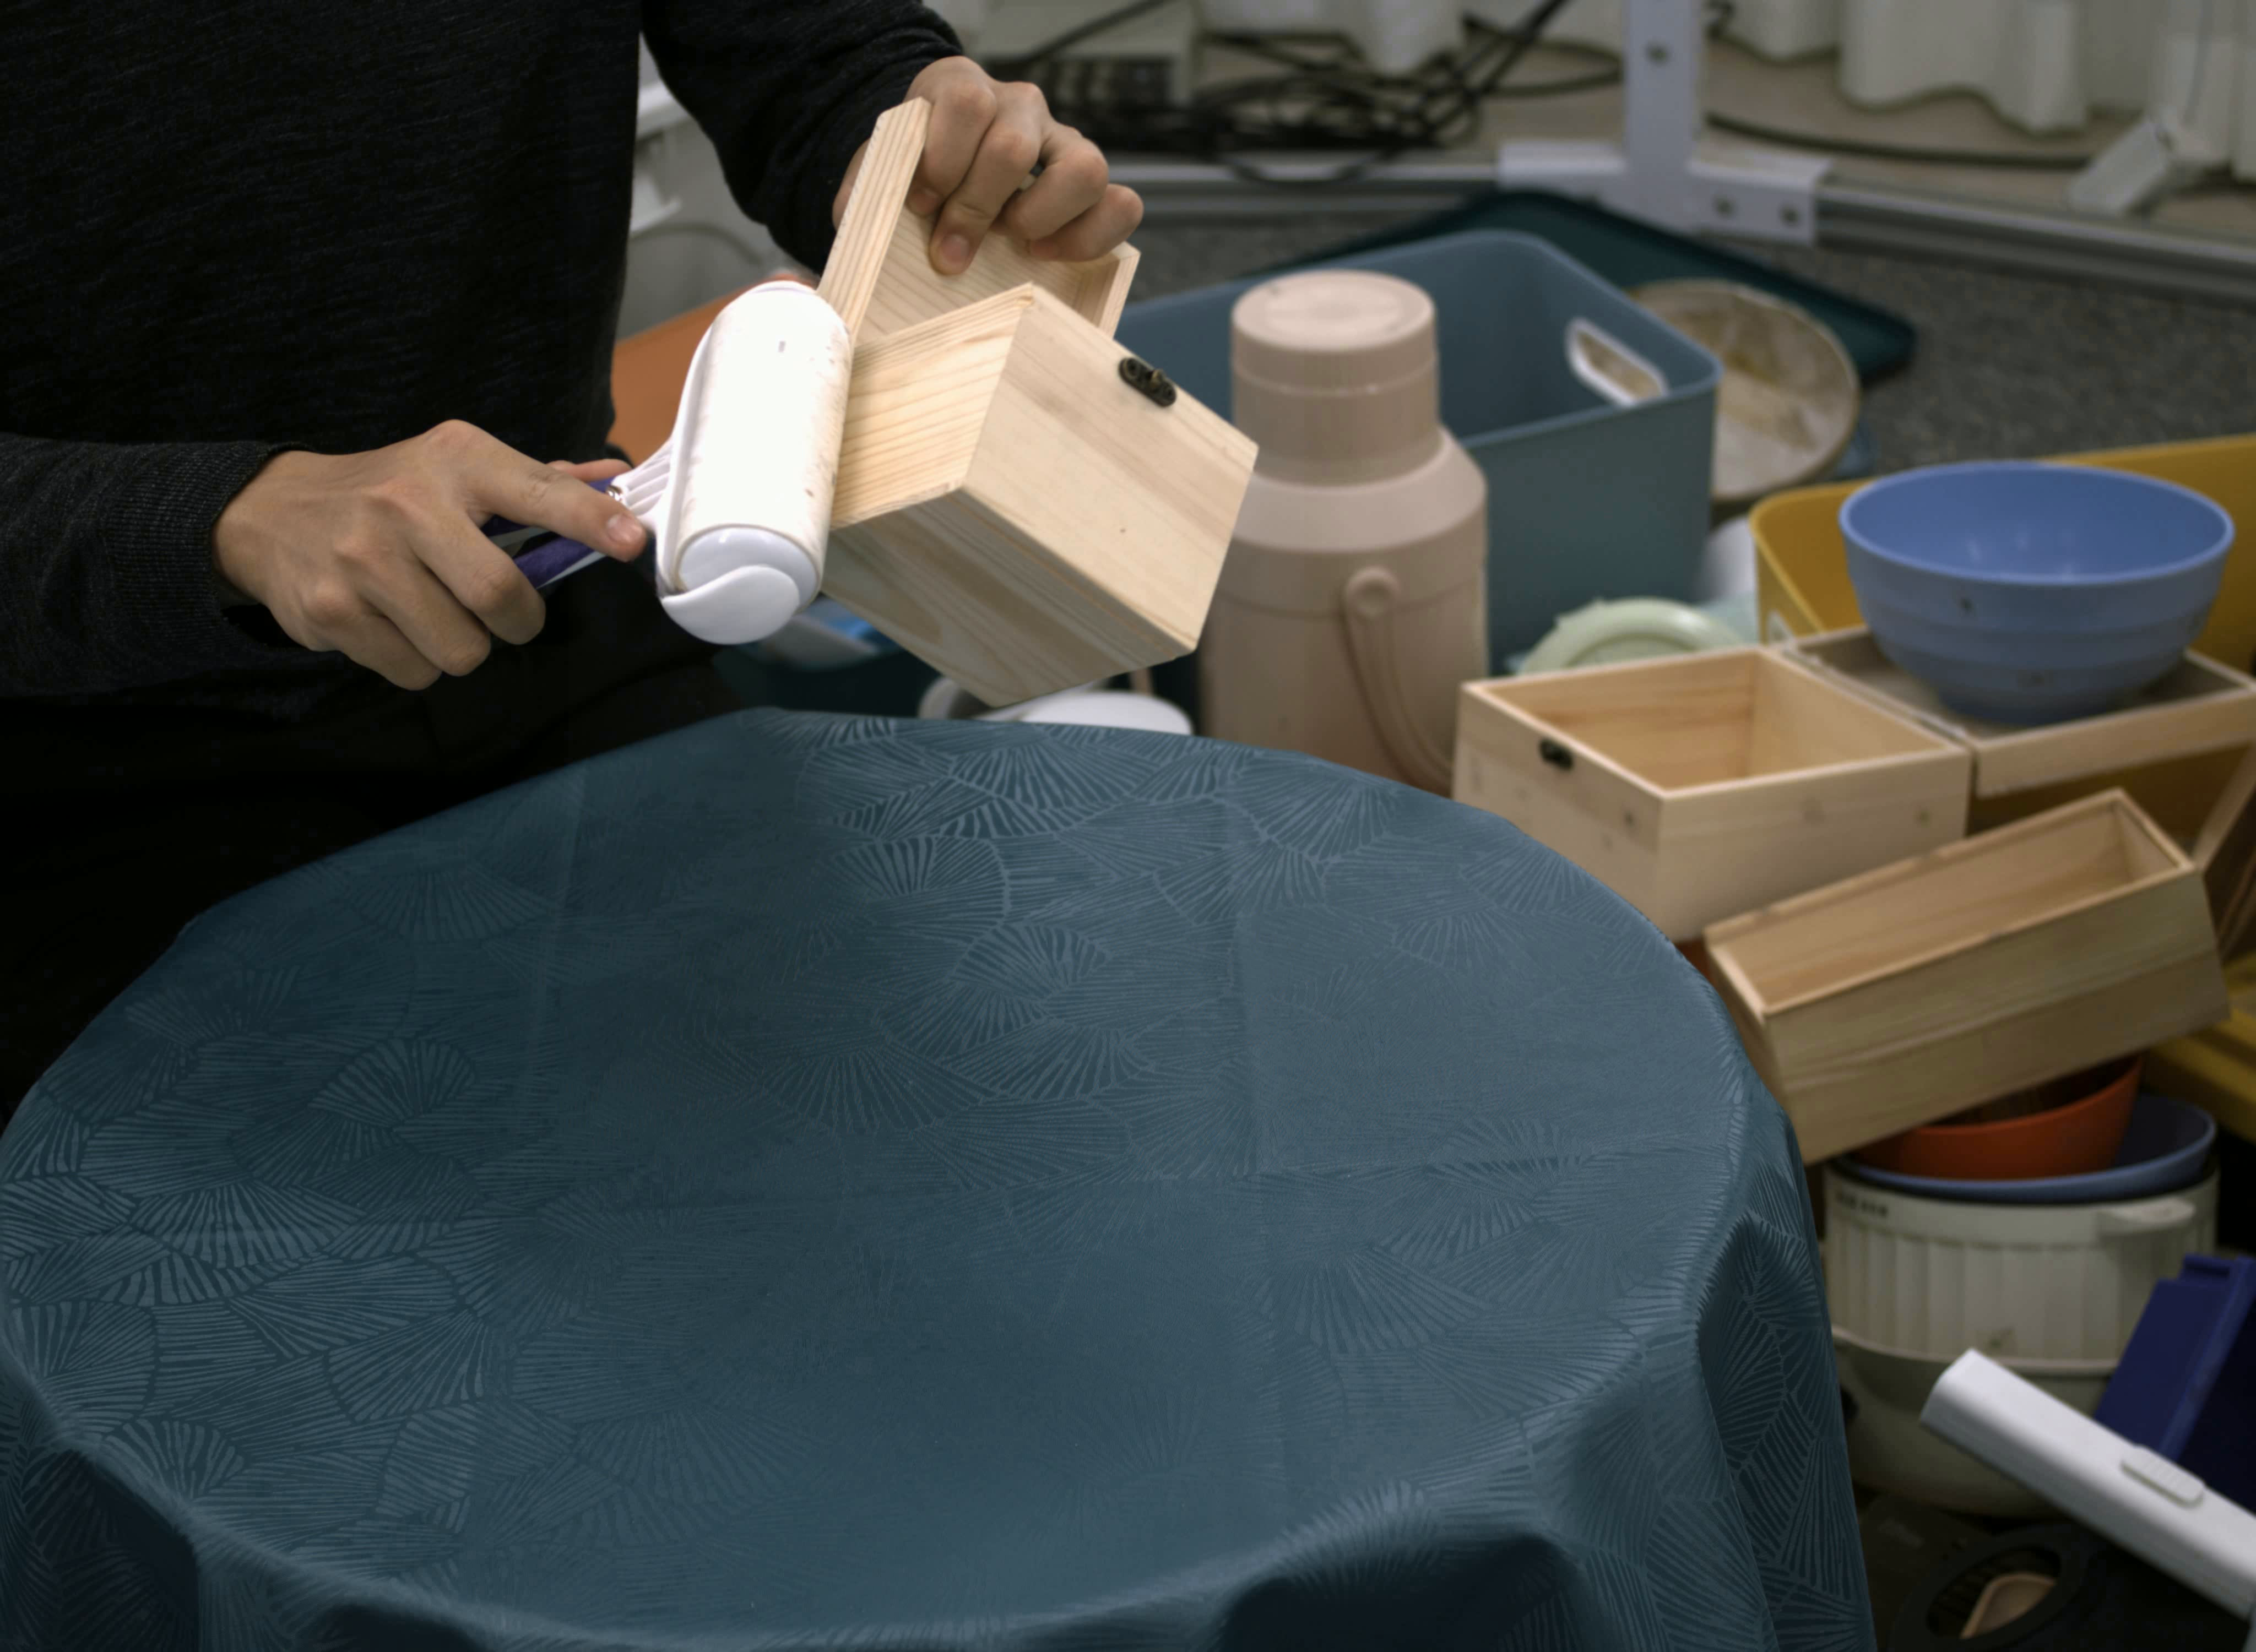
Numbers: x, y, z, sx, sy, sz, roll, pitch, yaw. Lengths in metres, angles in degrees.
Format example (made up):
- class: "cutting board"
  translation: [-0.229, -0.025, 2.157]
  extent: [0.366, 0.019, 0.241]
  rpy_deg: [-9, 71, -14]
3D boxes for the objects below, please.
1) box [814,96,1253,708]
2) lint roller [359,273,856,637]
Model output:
- class: "box"
  translation: [-0.029, -0.148, 1.813]
  extent: [0.132, 0.102, 0.188]
  rpy_deg: [-16, 48, 47]
- class: "lint roller"
  translation: [-0.172, -0.105, 1.779]
  extent: [0.179, 0.049, 0.136]
  rpy_deg: [-11, 48, 20]
